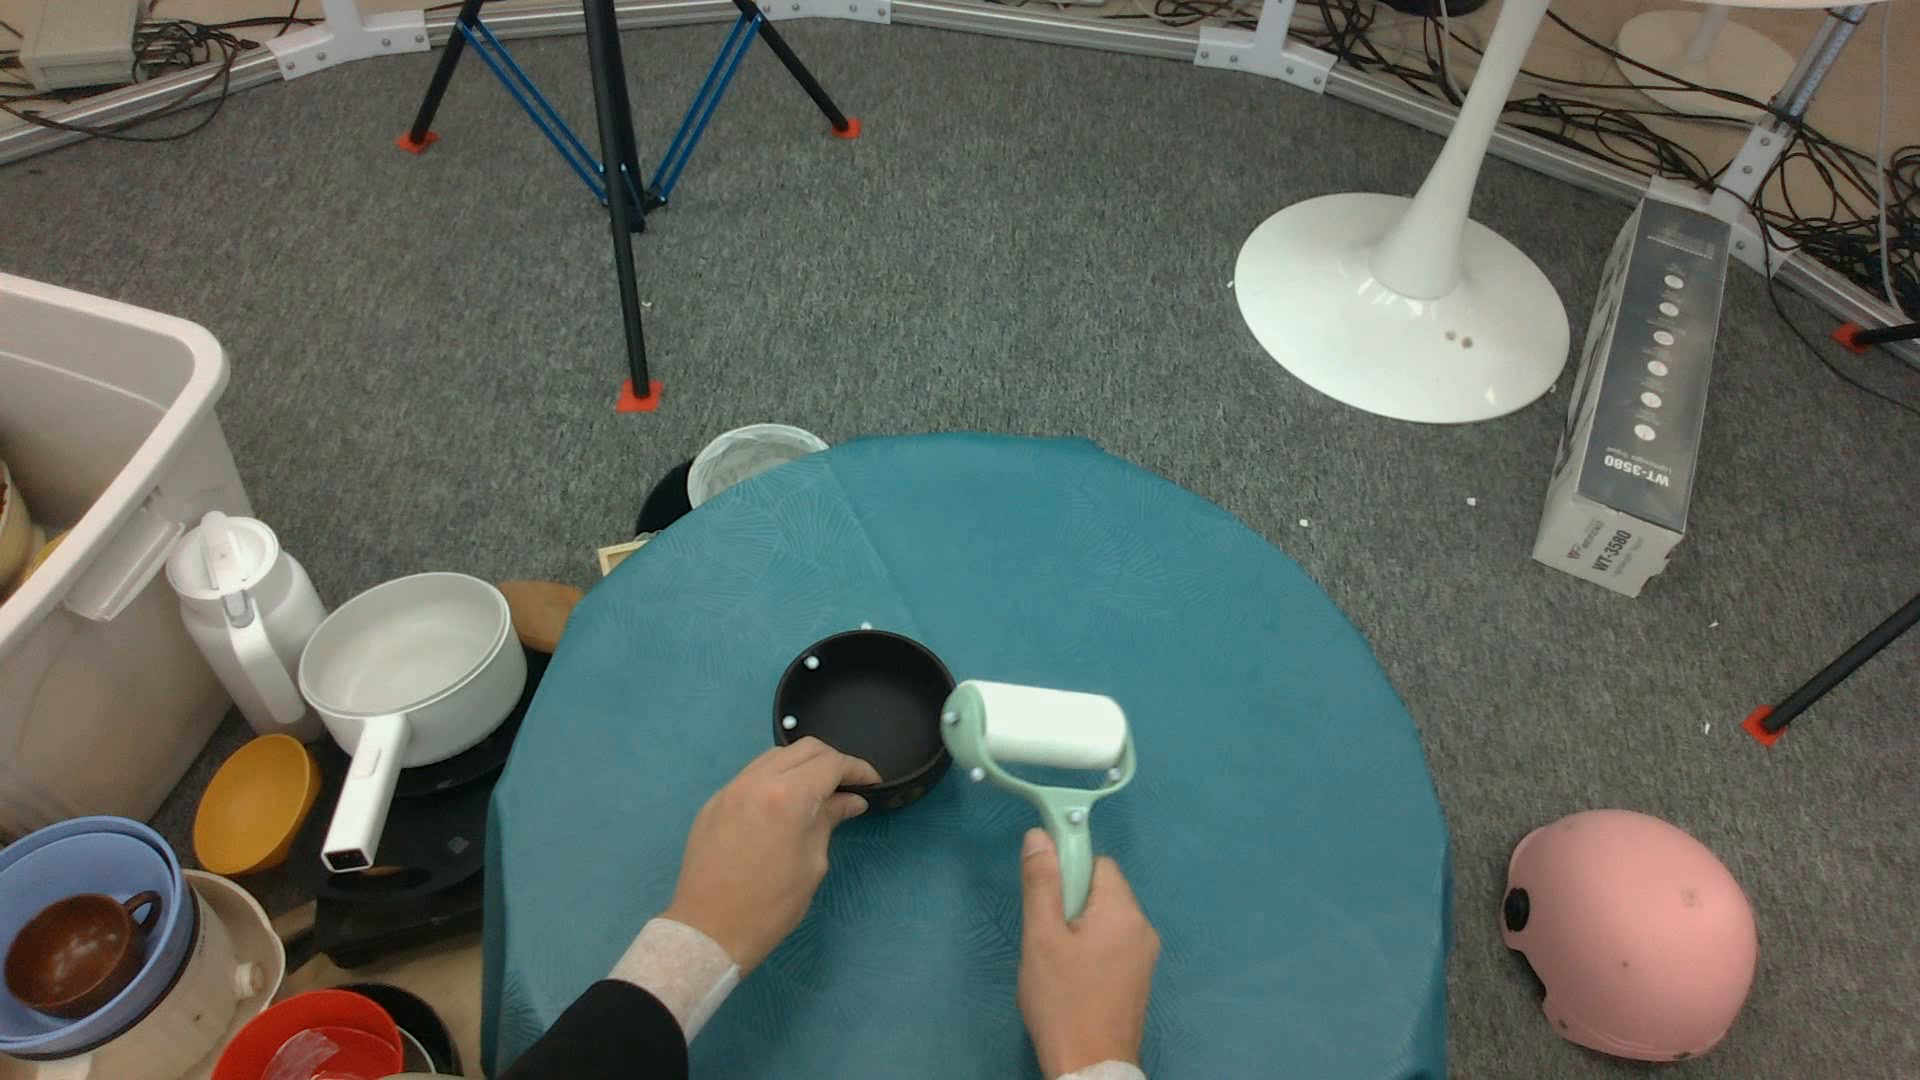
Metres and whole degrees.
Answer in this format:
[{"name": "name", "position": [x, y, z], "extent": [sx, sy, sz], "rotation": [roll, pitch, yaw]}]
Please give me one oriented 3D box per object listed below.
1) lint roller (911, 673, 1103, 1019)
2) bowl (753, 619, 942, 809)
[{"name": "lint roller", "position": [0.037, 0.172, 0.797], "extent": [0.117, 0.048, 0.198], "rotation": [10, 58, -33]}, {"name": "bowl", "position": [-0.070, 0.115, 0.863], "extent": [0.118, 0.069, 0.118], "rotation": [3, 53, -4]}]
